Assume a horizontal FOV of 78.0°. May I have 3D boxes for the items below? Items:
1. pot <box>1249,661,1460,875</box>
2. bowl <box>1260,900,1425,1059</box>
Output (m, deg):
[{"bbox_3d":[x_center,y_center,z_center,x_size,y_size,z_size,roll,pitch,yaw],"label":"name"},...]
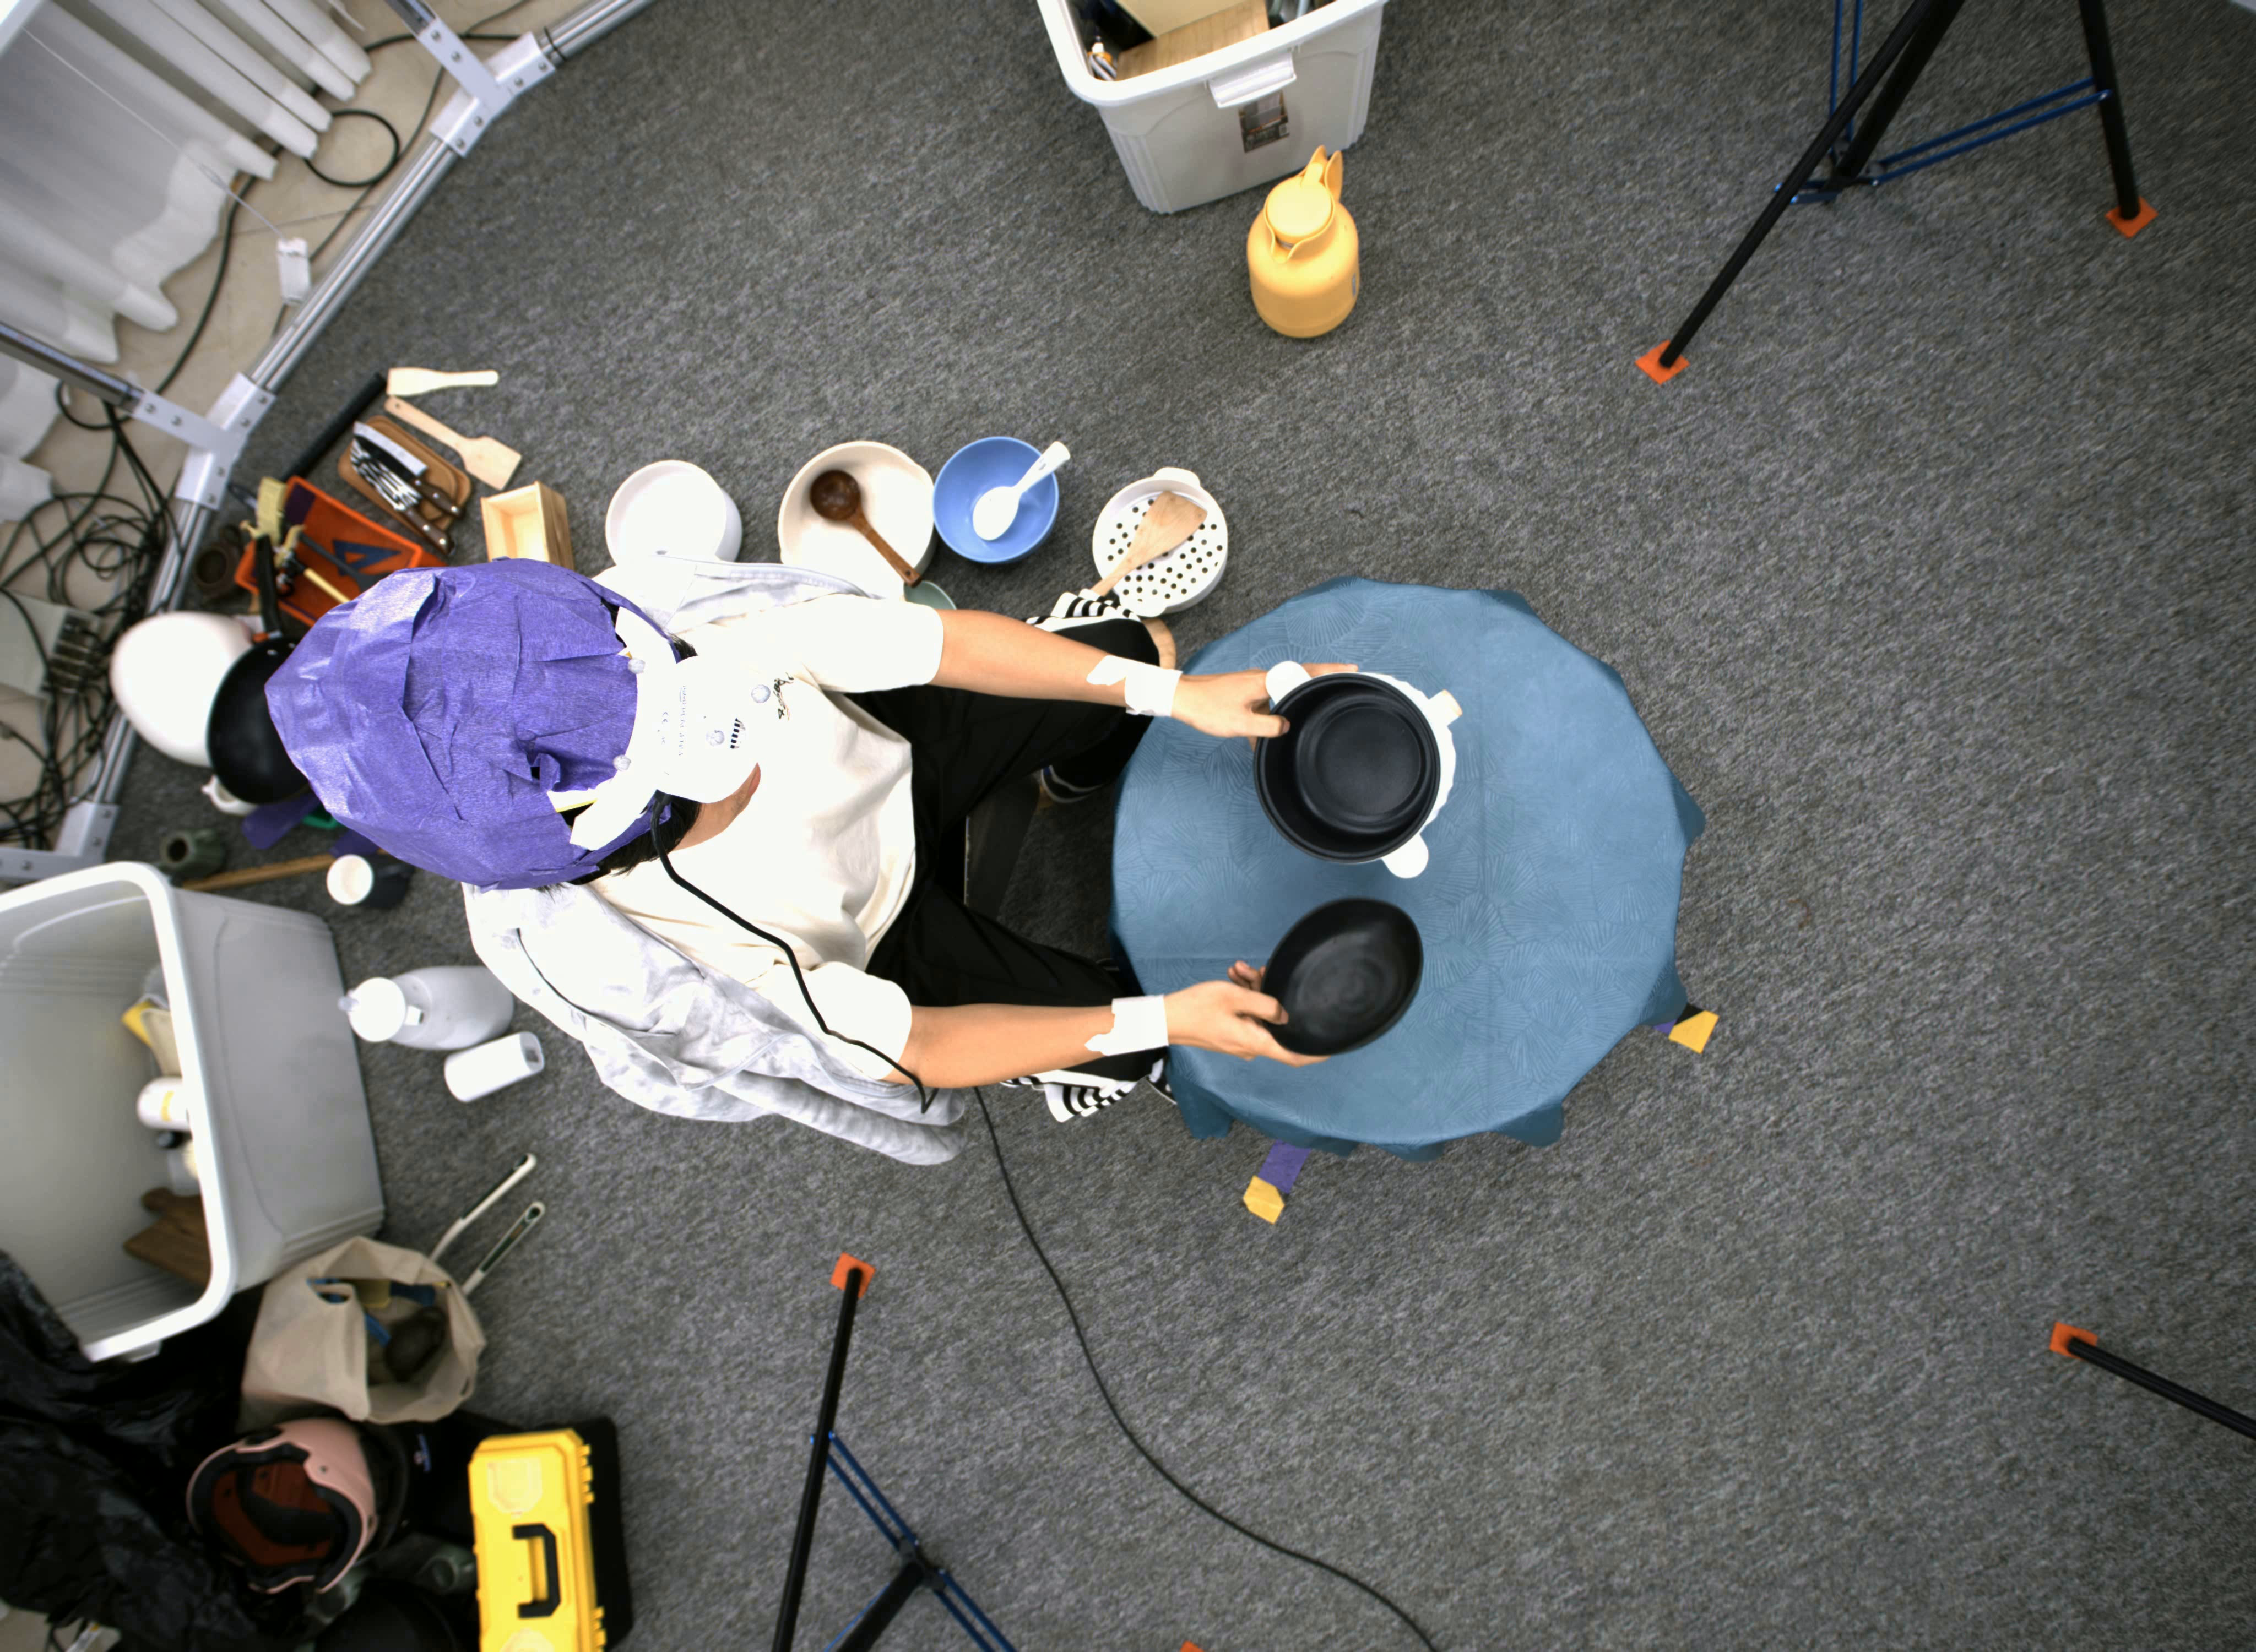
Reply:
[{"bbox_3d":[0.231,-0.068,1.351,0.194,0.140,0.239,-38,84,27],"label":"pot"},{"bbox_3d":[0.206,0.149,1.289,0.172,0.067,0.135,-40,58,12],"label":"bowl"}]
